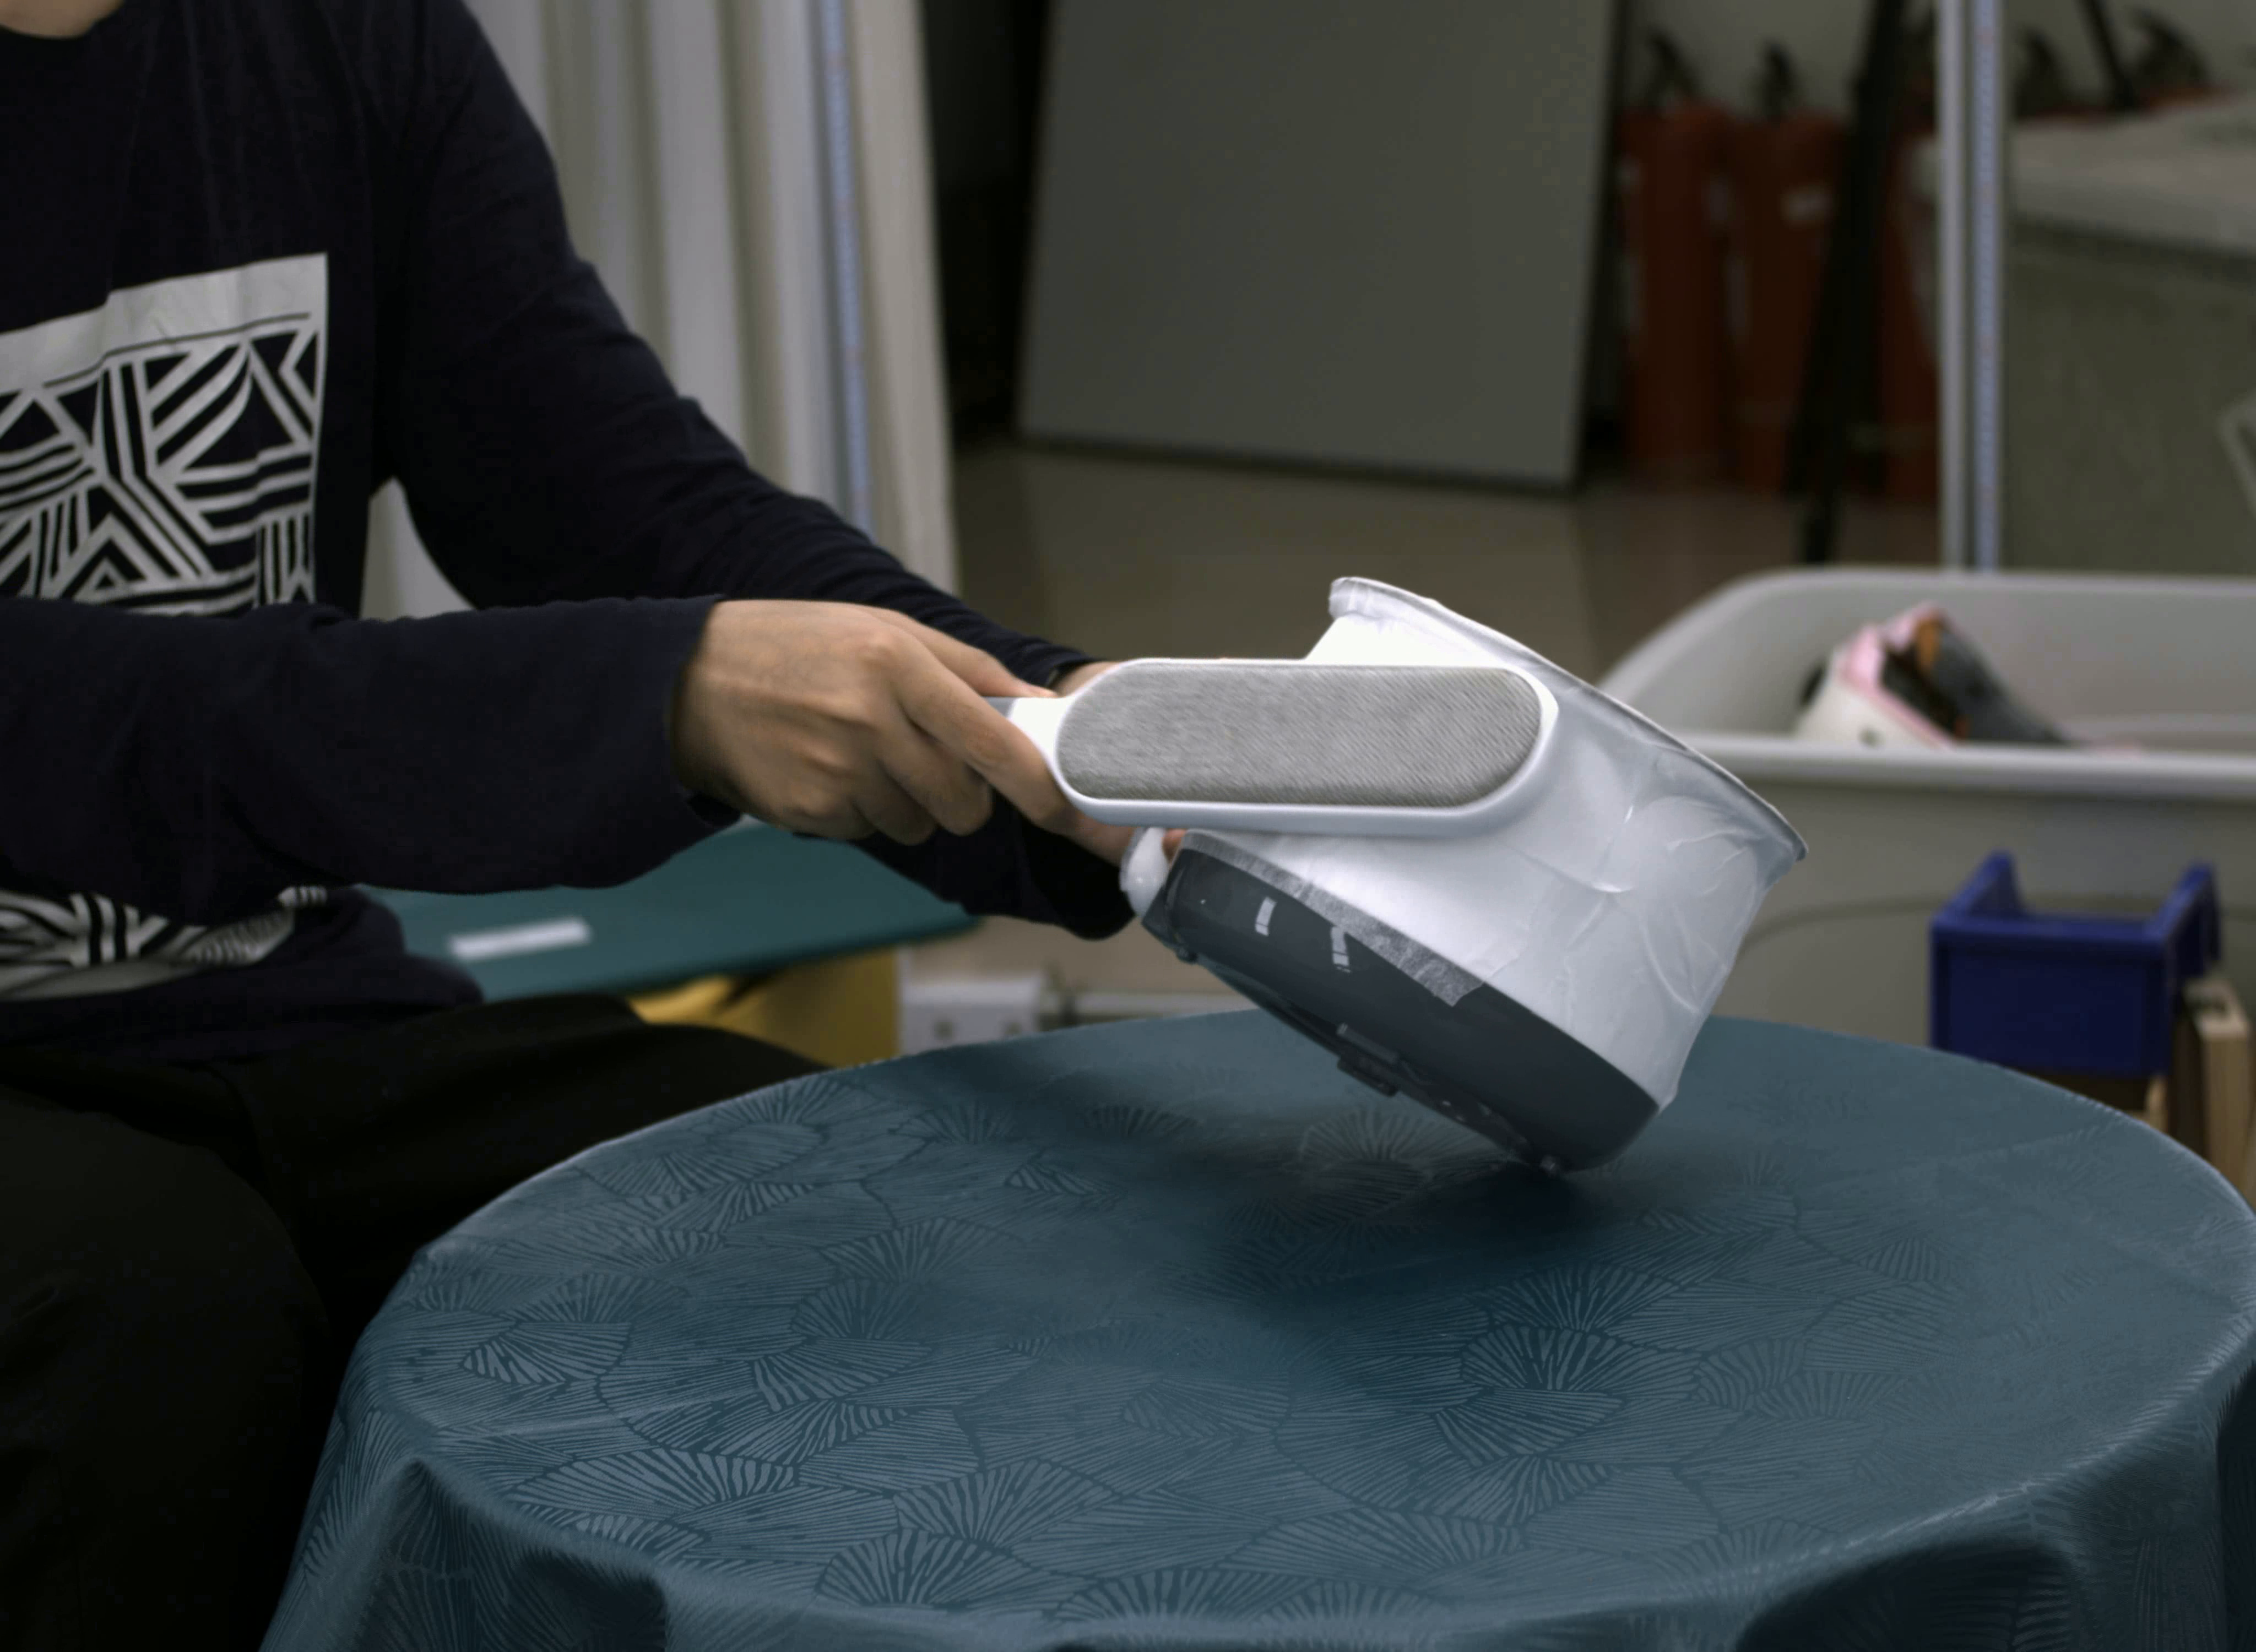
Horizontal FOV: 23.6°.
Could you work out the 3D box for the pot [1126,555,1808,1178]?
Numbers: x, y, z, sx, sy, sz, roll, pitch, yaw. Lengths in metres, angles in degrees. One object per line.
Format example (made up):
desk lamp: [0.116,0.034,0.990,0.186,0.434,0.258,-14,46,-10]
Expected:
pot: [0.094,0.009,1.746,0.176,0.137,0.236,38,-8,-39]

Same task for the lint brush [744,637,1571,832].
lint brush: [0.003,-0.030,1.694,0.311,0.060,0.020,2,-23,35]
